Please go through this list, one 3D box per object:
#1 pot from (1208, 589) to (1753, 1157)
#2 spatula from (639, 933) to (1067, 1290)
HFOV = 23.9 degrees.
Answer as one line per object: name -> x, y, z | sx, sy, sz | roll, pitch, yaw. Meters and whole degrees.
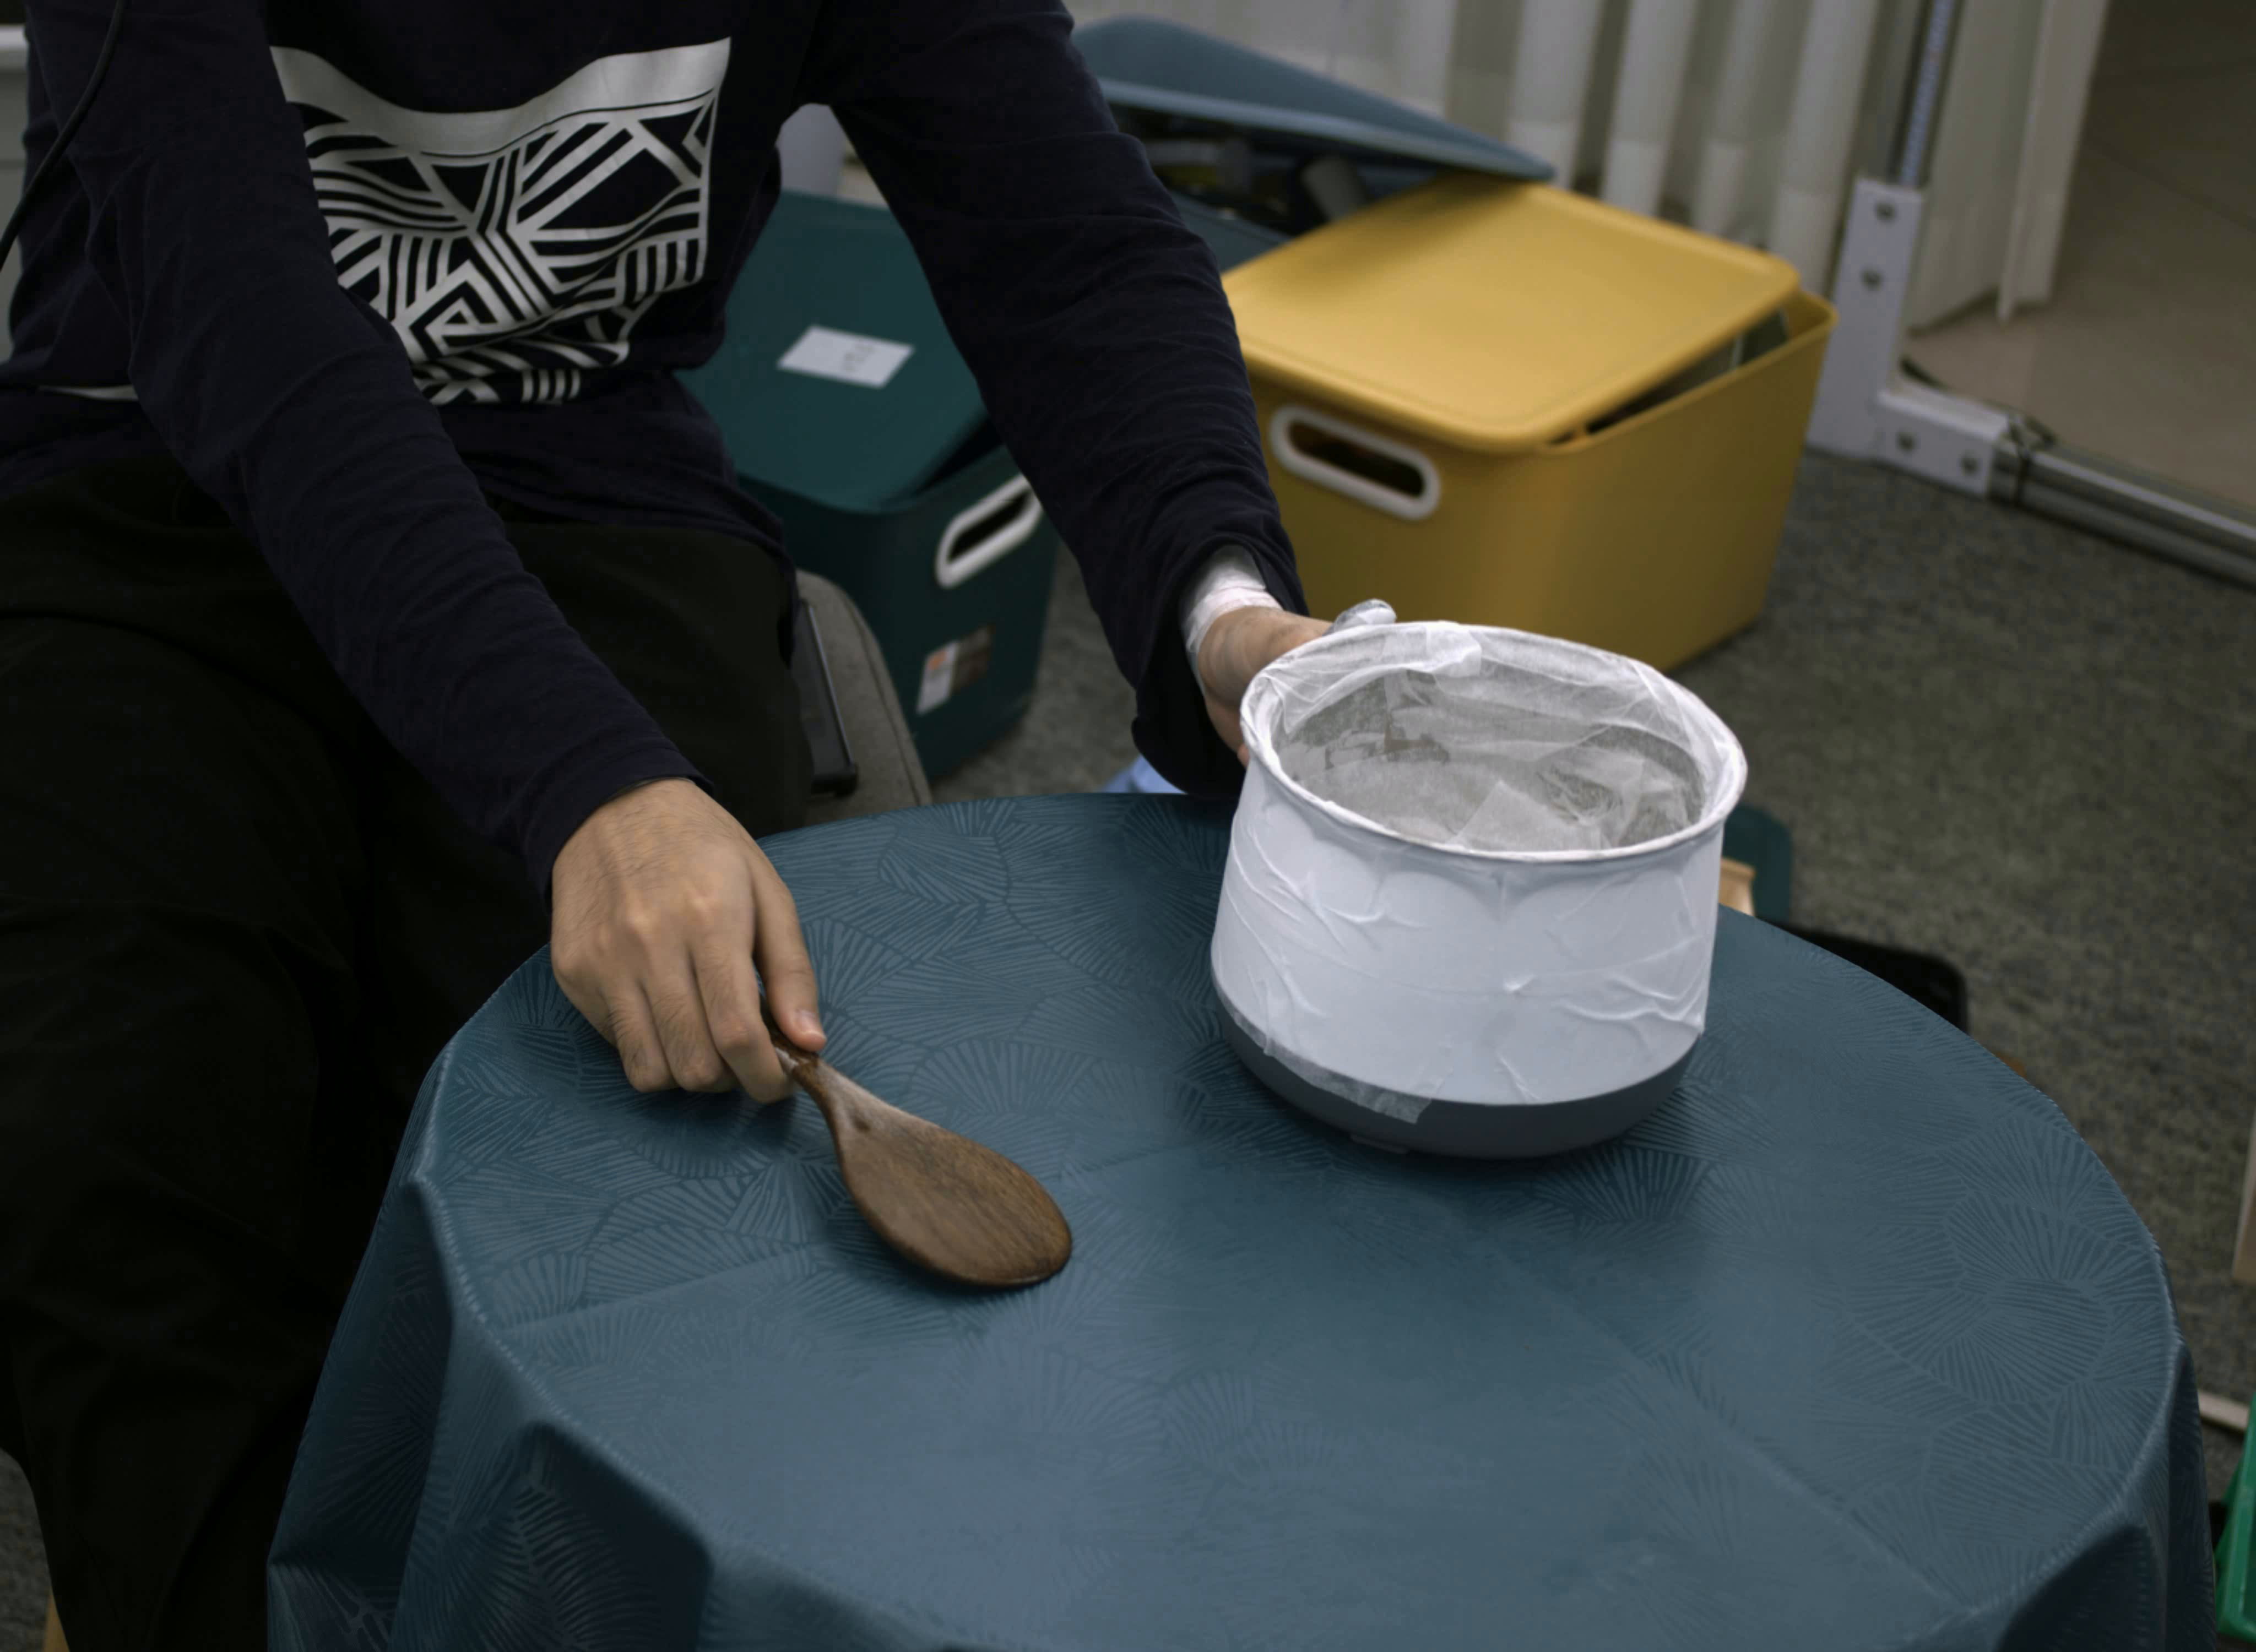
pot -> 0.109, 0.010, 1.895 | 0.177, 0.136, 0.236 | -5, 31, -24
spatula -> -0.099, 0.093, 1.806 | 0.071, 0.009, 0.217 | -6, 34, -43
